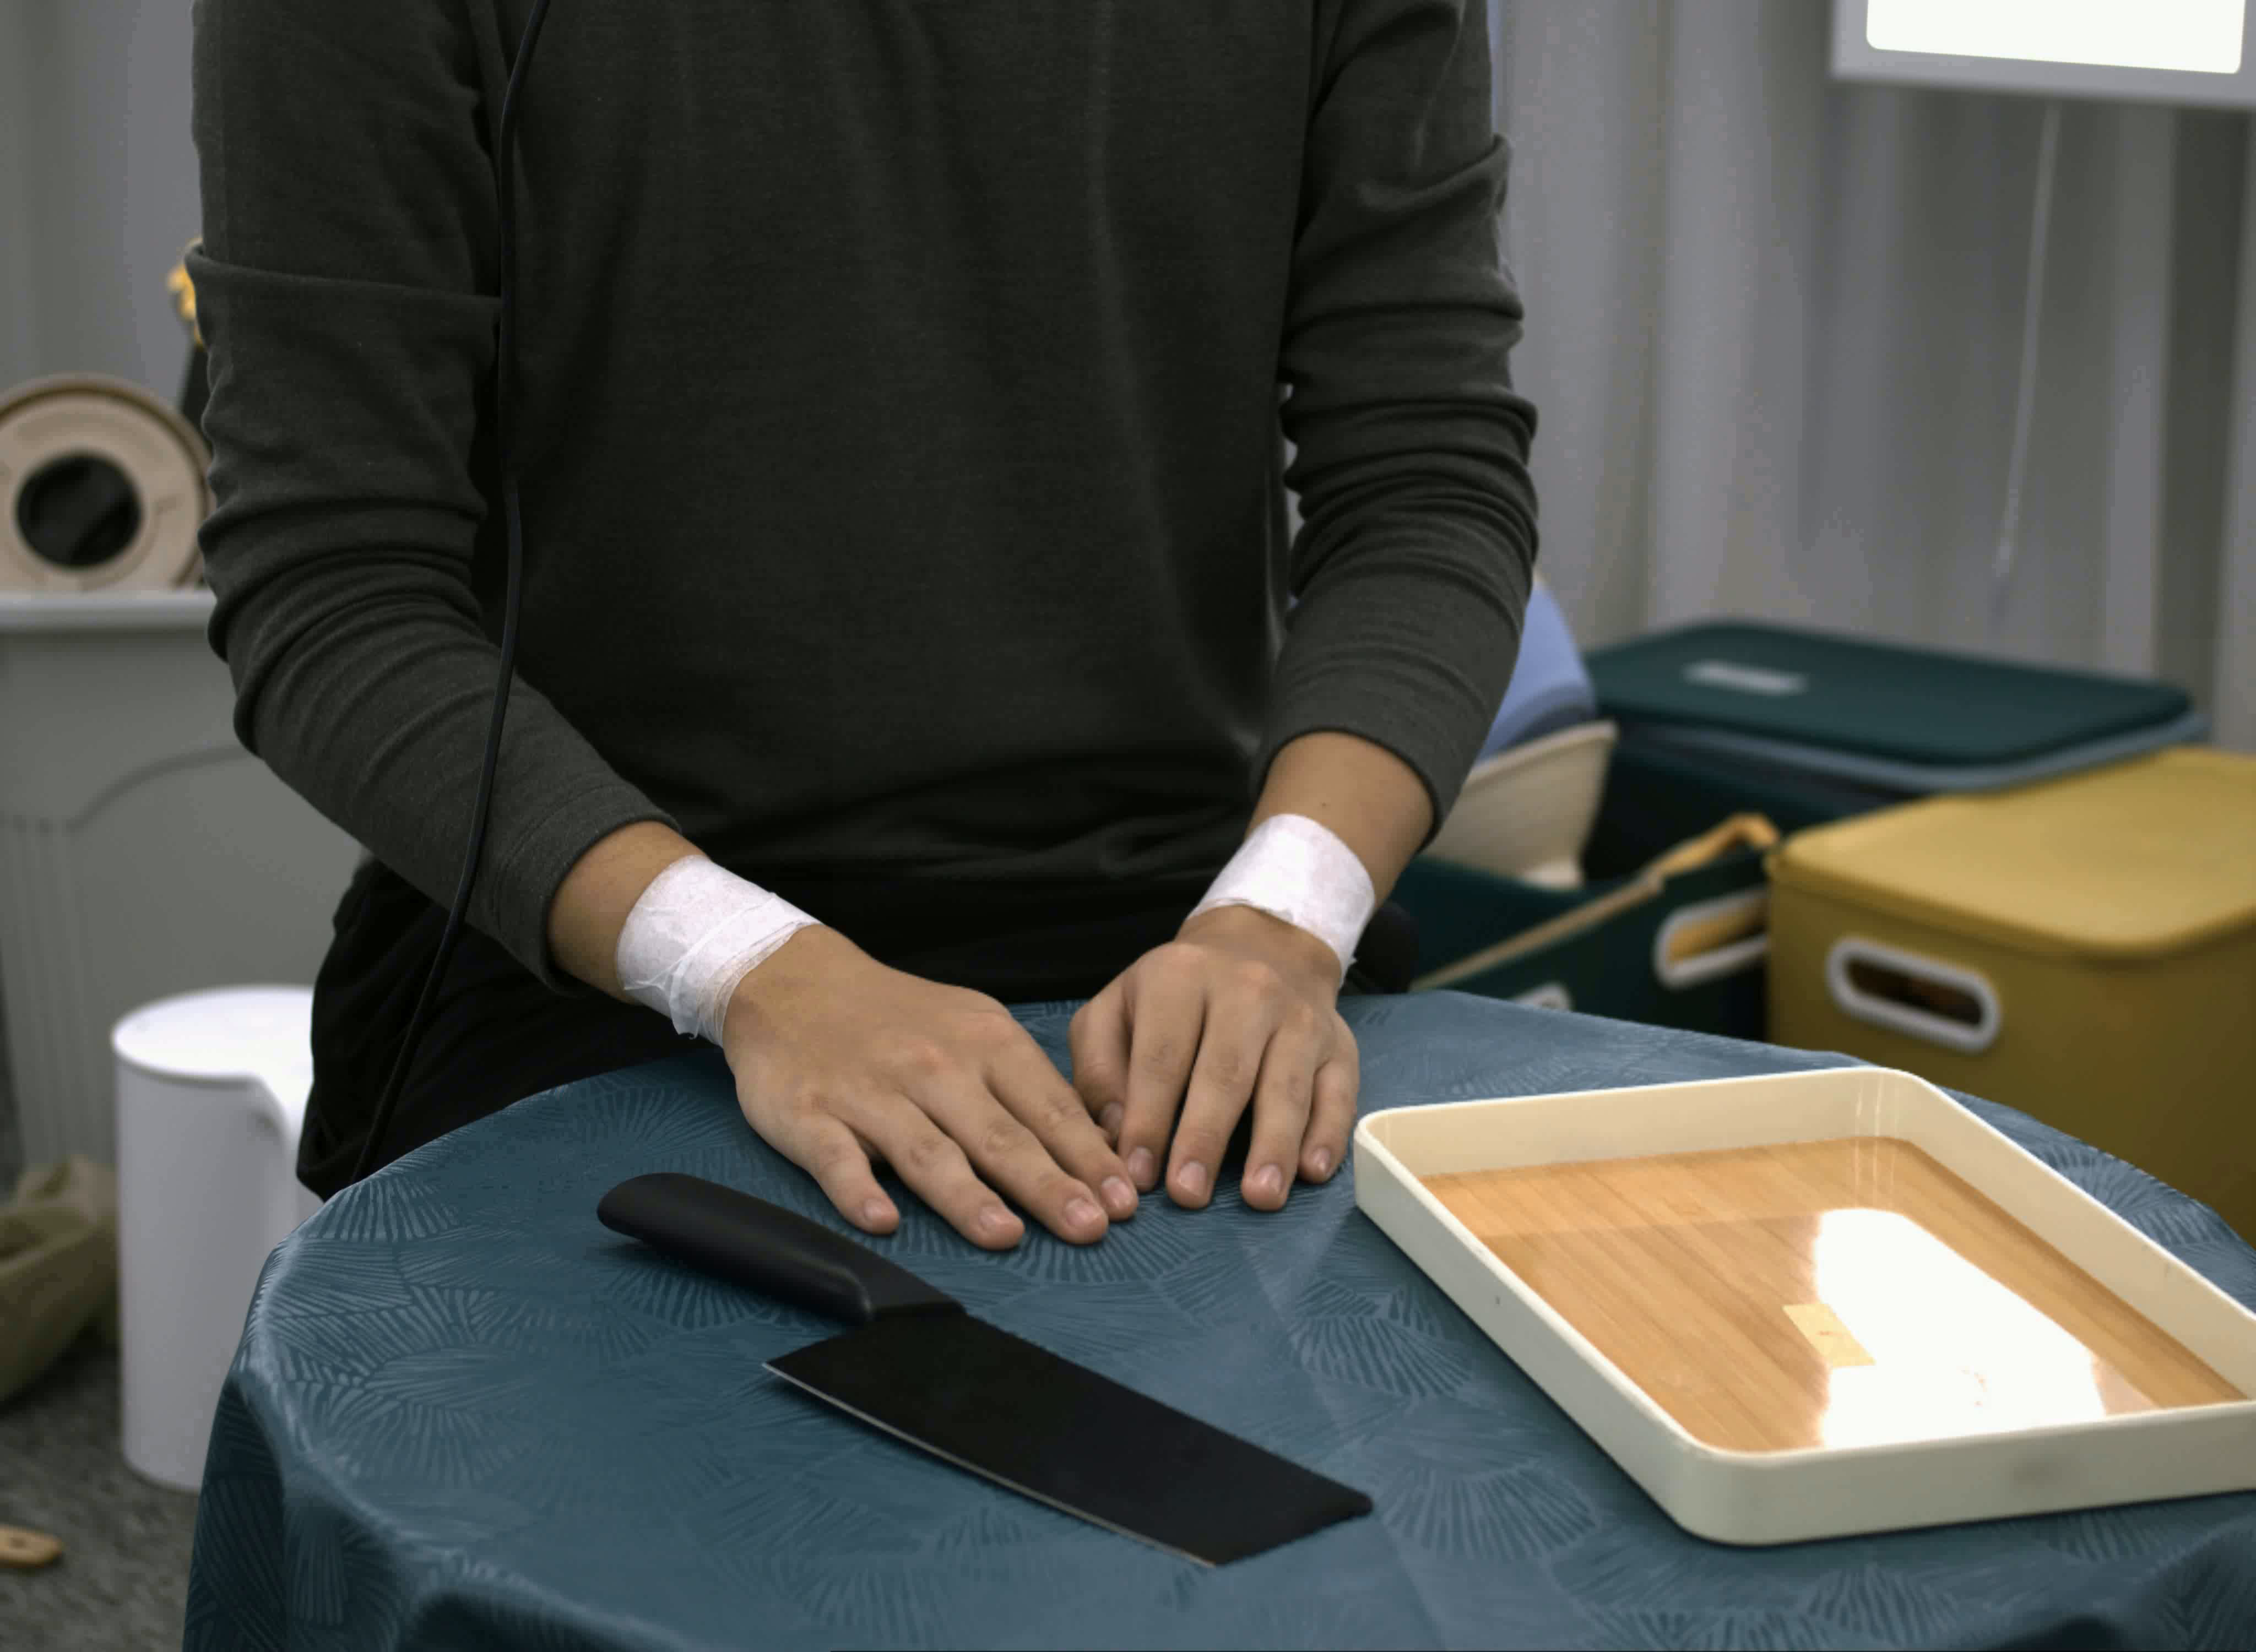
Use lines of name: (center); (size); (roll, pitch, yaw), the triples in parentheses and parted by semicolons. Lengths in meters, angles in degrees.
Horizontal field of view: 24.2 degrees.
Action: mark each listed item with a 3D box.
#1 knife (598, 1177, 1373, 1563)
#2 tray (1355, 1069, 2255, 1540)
knife: (-0.055, 0.149, 1.465); (0.081, 0.021, 0.298); (-13, 22, -37)
tray: (0.197, 0.131, 1.513); (0.192, 0.027, 0.297); (-4, 16, -16)
